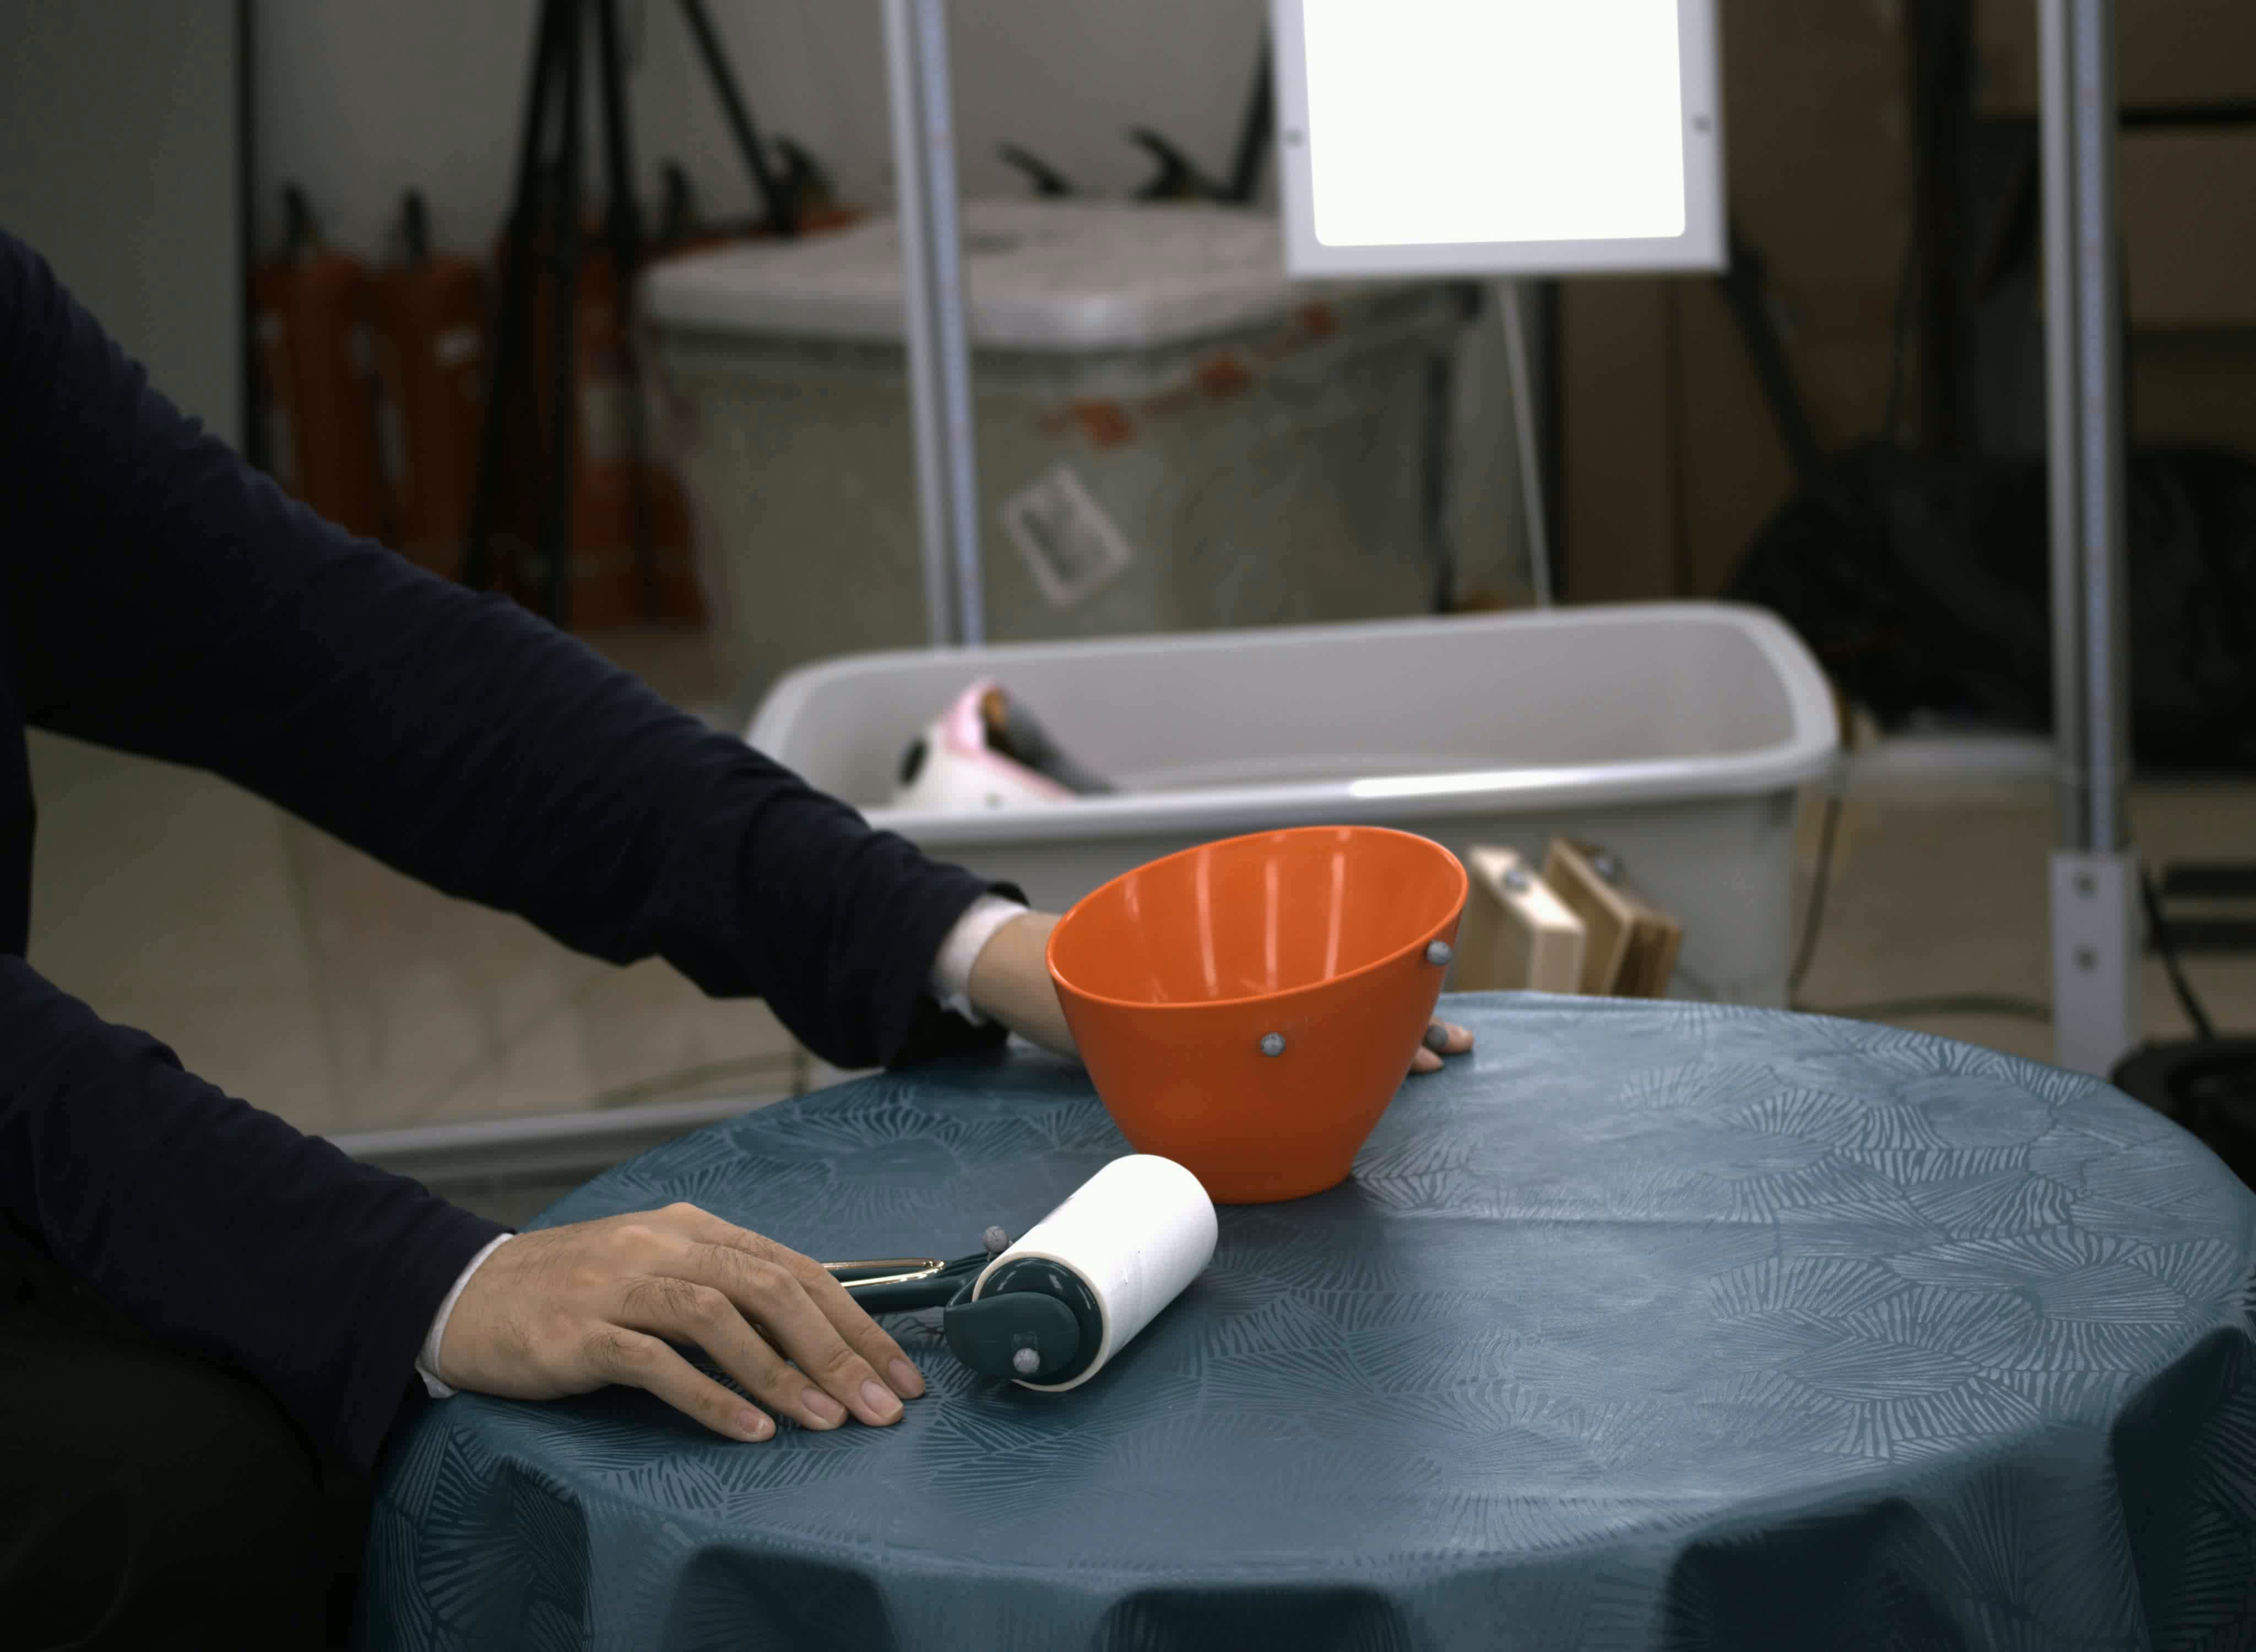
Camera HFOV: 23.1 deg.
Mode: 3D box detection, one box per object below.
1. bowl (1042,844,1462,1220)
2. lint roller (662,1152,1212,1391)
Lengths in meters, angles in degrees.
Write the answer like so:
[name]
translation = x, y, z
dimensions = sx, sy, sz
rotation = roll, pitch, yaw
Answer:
[bowl]
translation = 0.047, 0.075, 1.904
dimensions = 0.147, 0.105, 0.148
rotation = -7, 13, 0
[lint roller]
translation = -0.072, 0.145, 1.776
dimensions = 0.183, 0.048, 0.132
rotation = -4, 13, 24
